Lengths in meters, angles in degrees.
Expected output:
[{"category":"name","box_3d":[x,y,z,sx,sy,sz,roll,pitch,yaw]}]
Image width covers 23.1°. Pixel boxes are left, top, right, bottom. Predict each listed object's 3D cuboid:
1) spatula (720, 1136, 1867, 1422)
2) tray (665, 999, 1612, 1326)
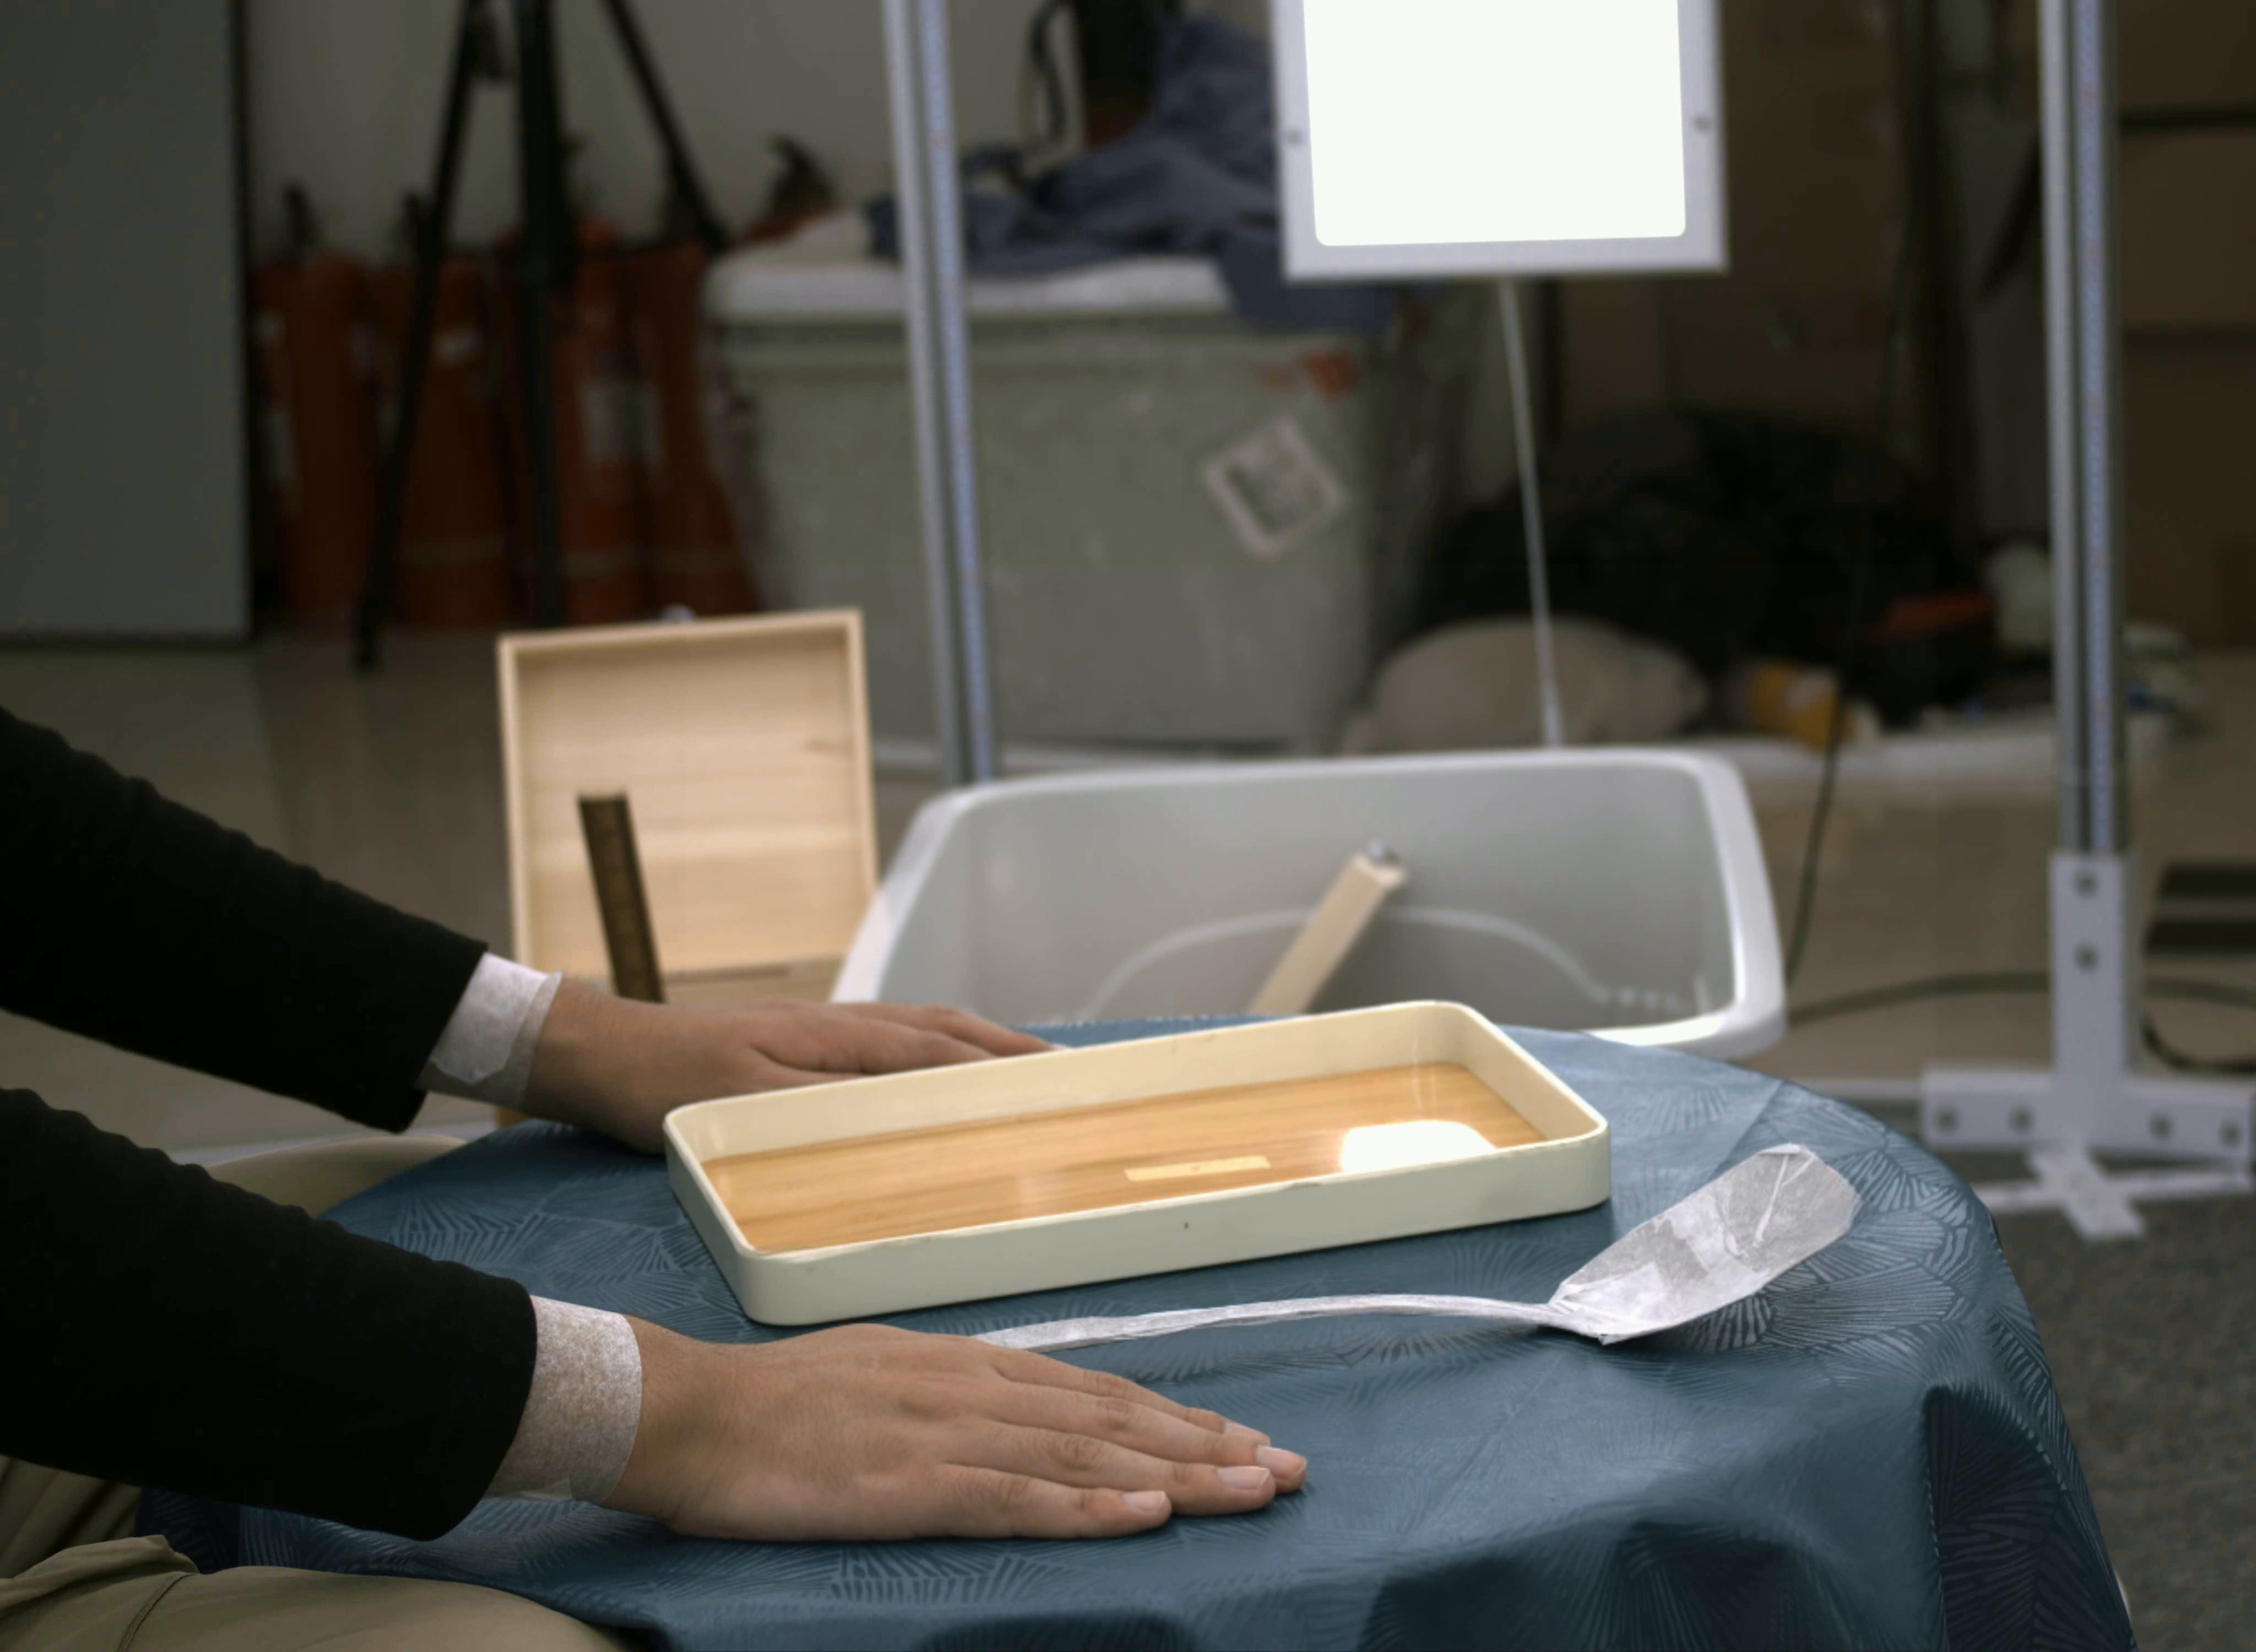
[{"category":"spatula","box_3d":[0.052,0.147,1.716,0.362,0.045,0.099,-6,14,-4]},{"category":"tray","box_3d":[0.000,0.113,1.895,0.297,0.027,0.193,-8,14,-10]}]
